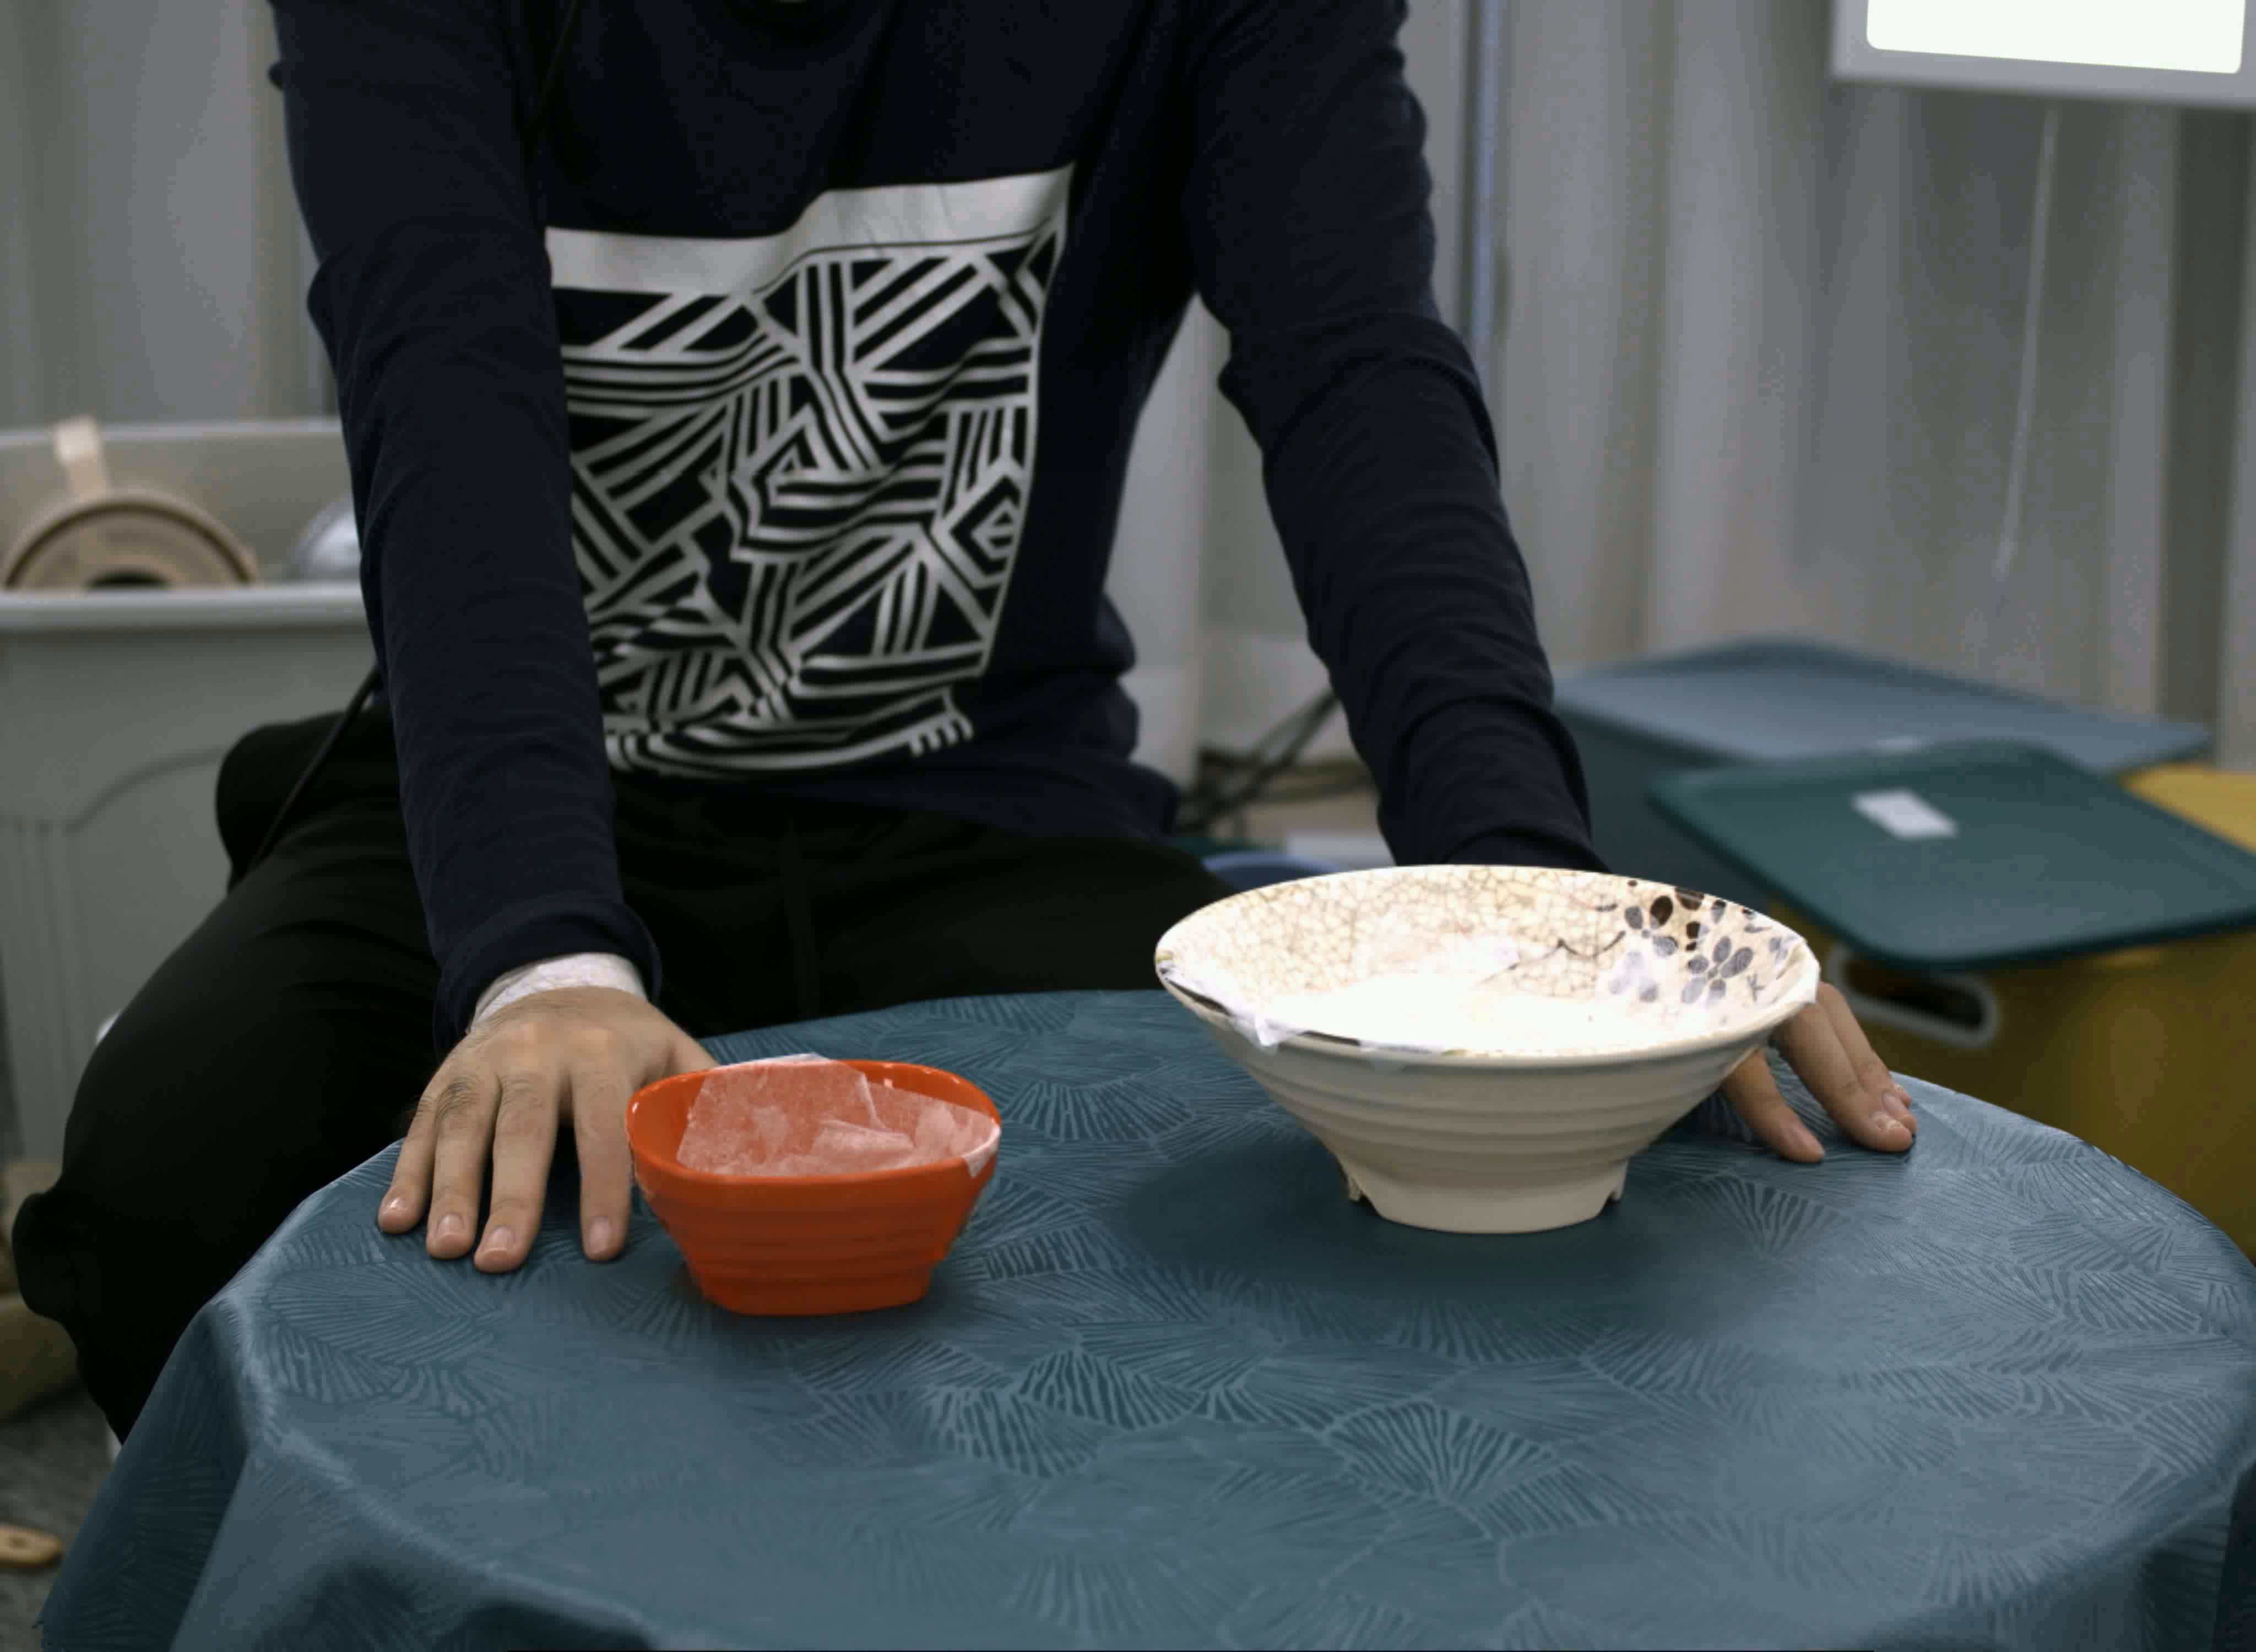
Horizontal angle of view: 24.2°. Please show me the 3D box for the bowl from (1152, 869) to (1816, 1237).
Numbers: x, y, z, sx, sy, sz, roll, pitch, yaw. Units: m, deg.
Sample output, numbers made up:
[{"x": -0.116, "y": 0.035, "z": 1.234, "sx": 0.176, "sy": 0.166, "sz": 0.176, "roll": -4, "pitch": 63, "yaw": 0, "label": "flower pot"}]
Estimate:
[{"x": 0.108, "y": 0.076, "z": 1.619, "sx": 0.203, "sy": 0.078, "sz": 0.203, "roll": 1, "pitch": 15, "yaw": 0, "label": "bowl"}]

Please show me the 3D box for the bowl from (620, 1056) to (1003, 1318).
[{"x": -0.092, "y": 0.108, "z": 1.542, "sx": 0.118, "sy": 0.052, "sz": 0.118, "roll": 0, "pitch": 16, "yaw": 1, "label": "bowl"}]
